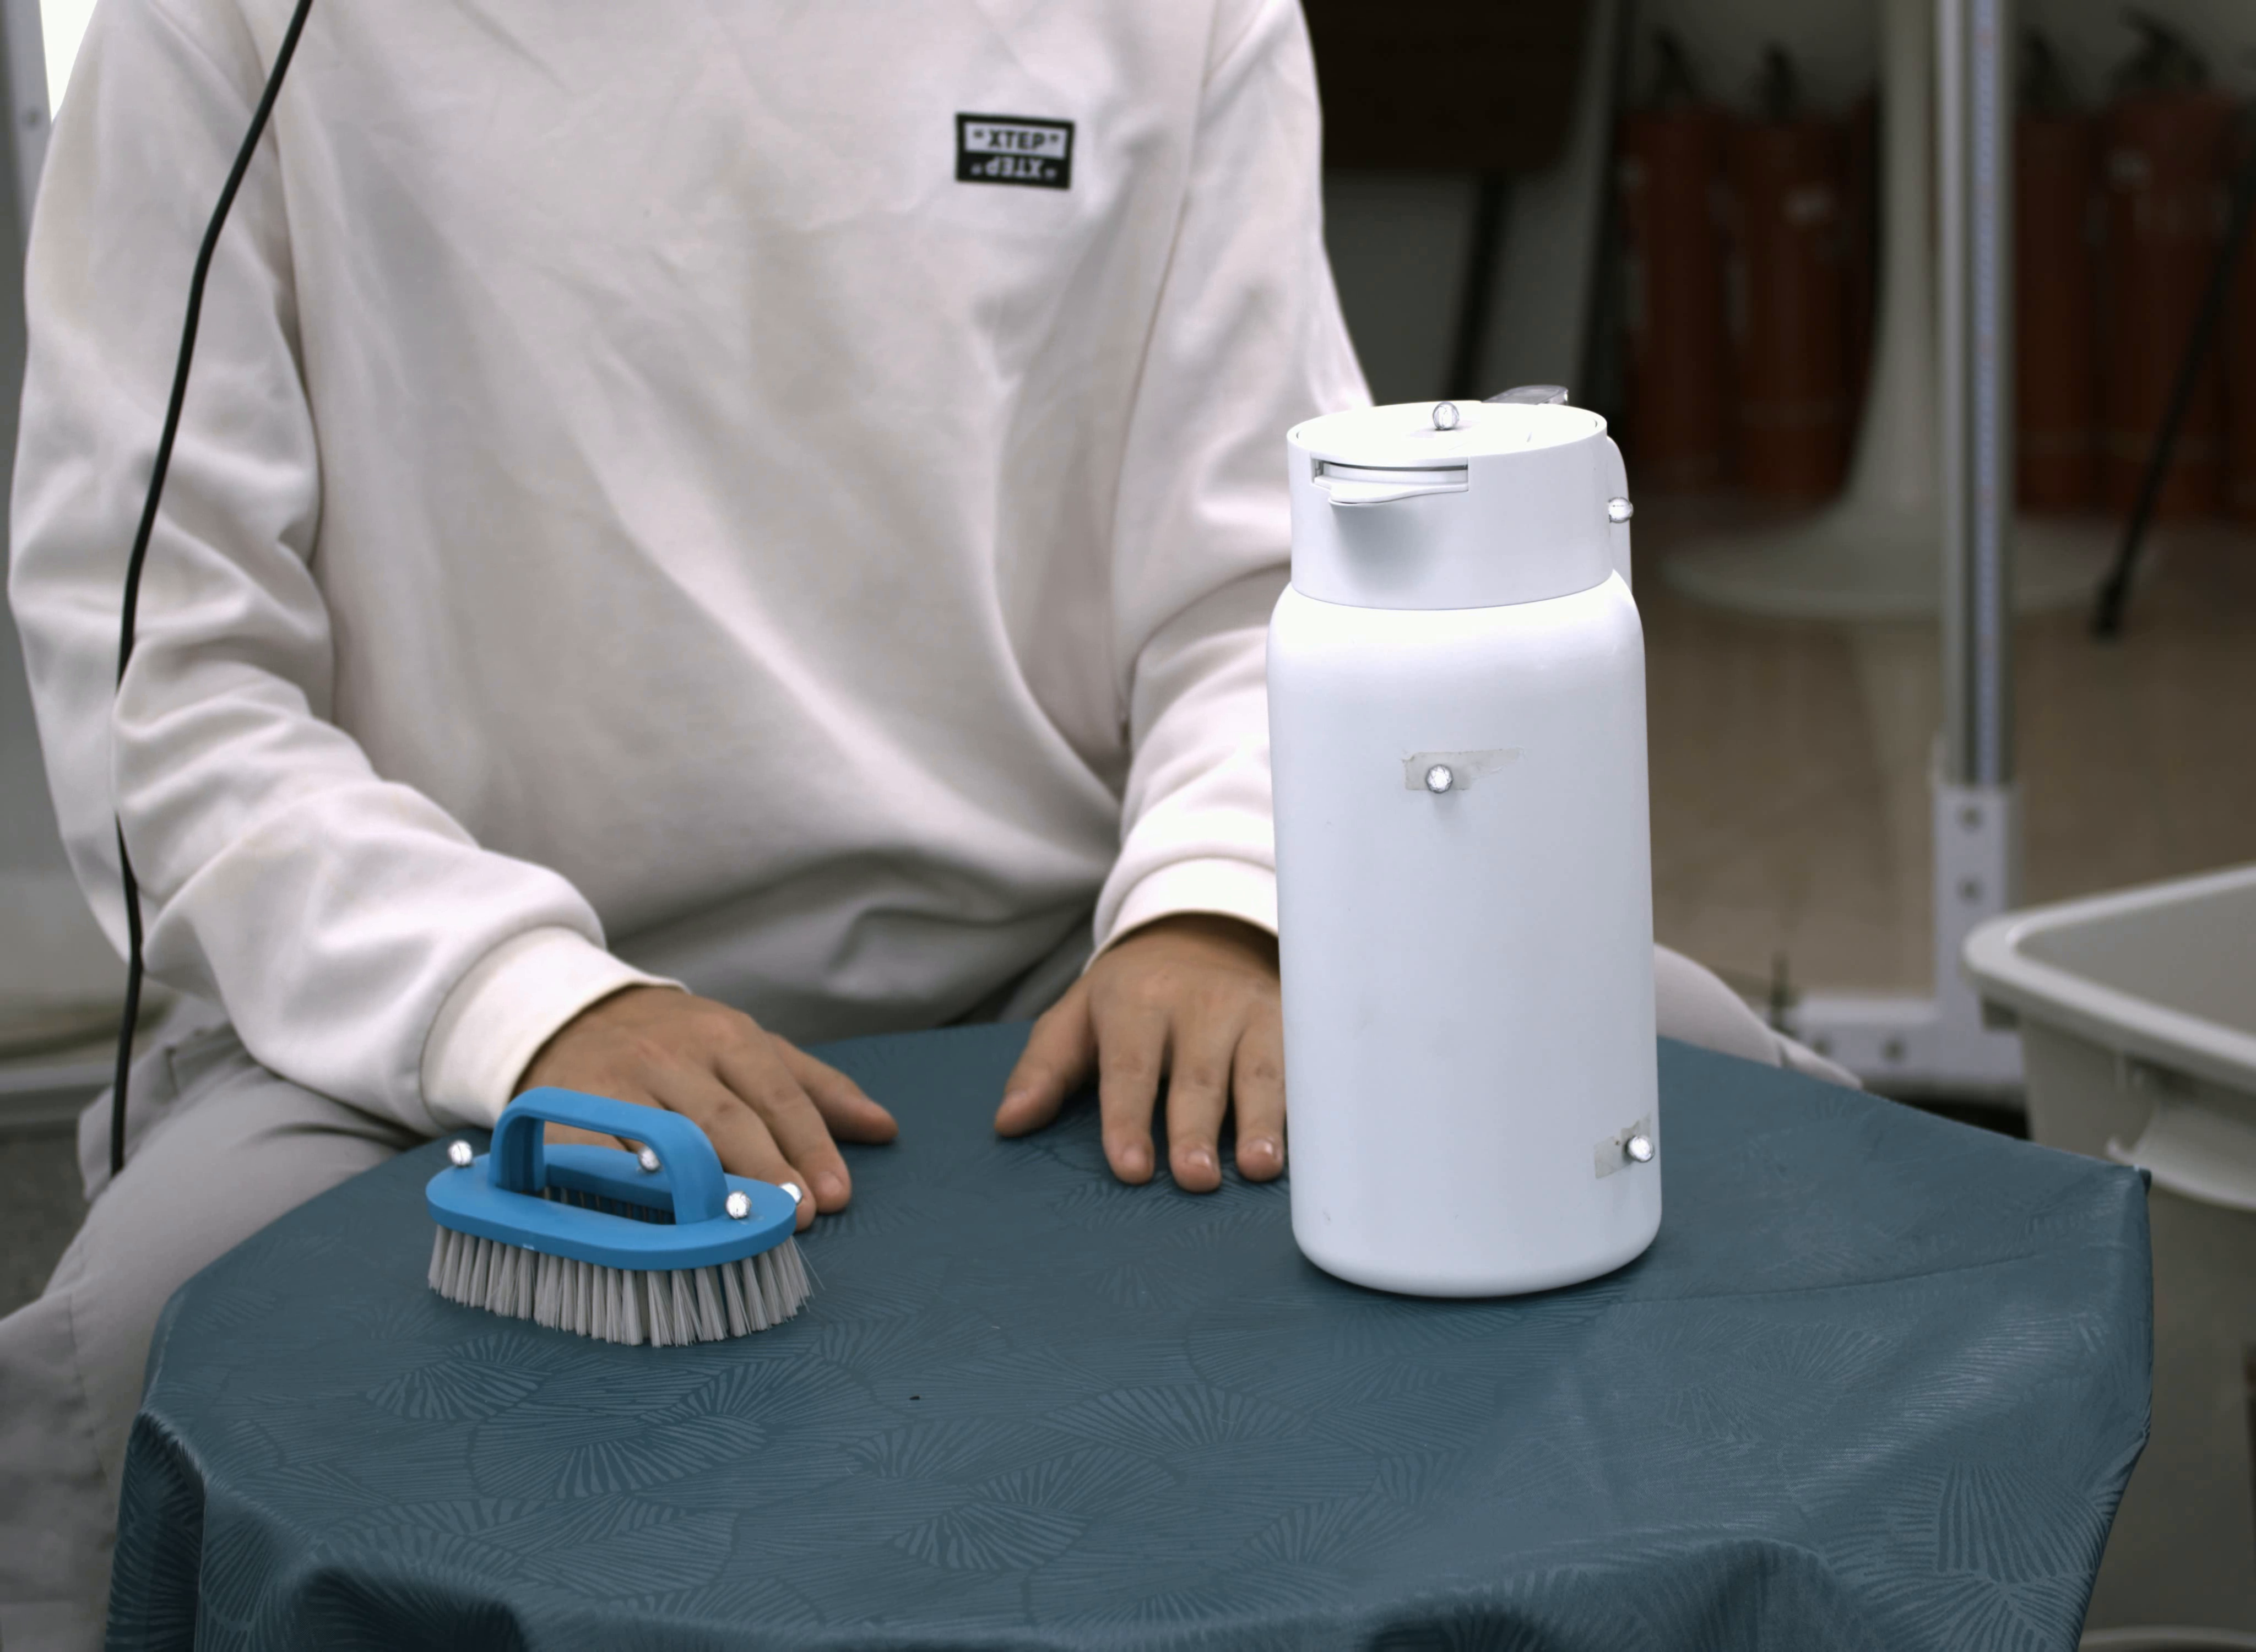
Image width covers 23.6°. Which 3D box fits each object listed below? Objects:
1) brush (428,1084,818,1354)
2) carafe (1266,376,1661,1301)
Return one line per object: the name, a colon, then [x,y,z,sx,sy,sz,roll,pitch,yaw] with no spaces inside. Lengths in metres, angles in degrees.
brush: [-0.163,0.116,1.702,0.143,0.064,0.083,8,22,43]
carafe: [0.110,0.000,1.679,0.124,0.272,0.170,2,13,29]
